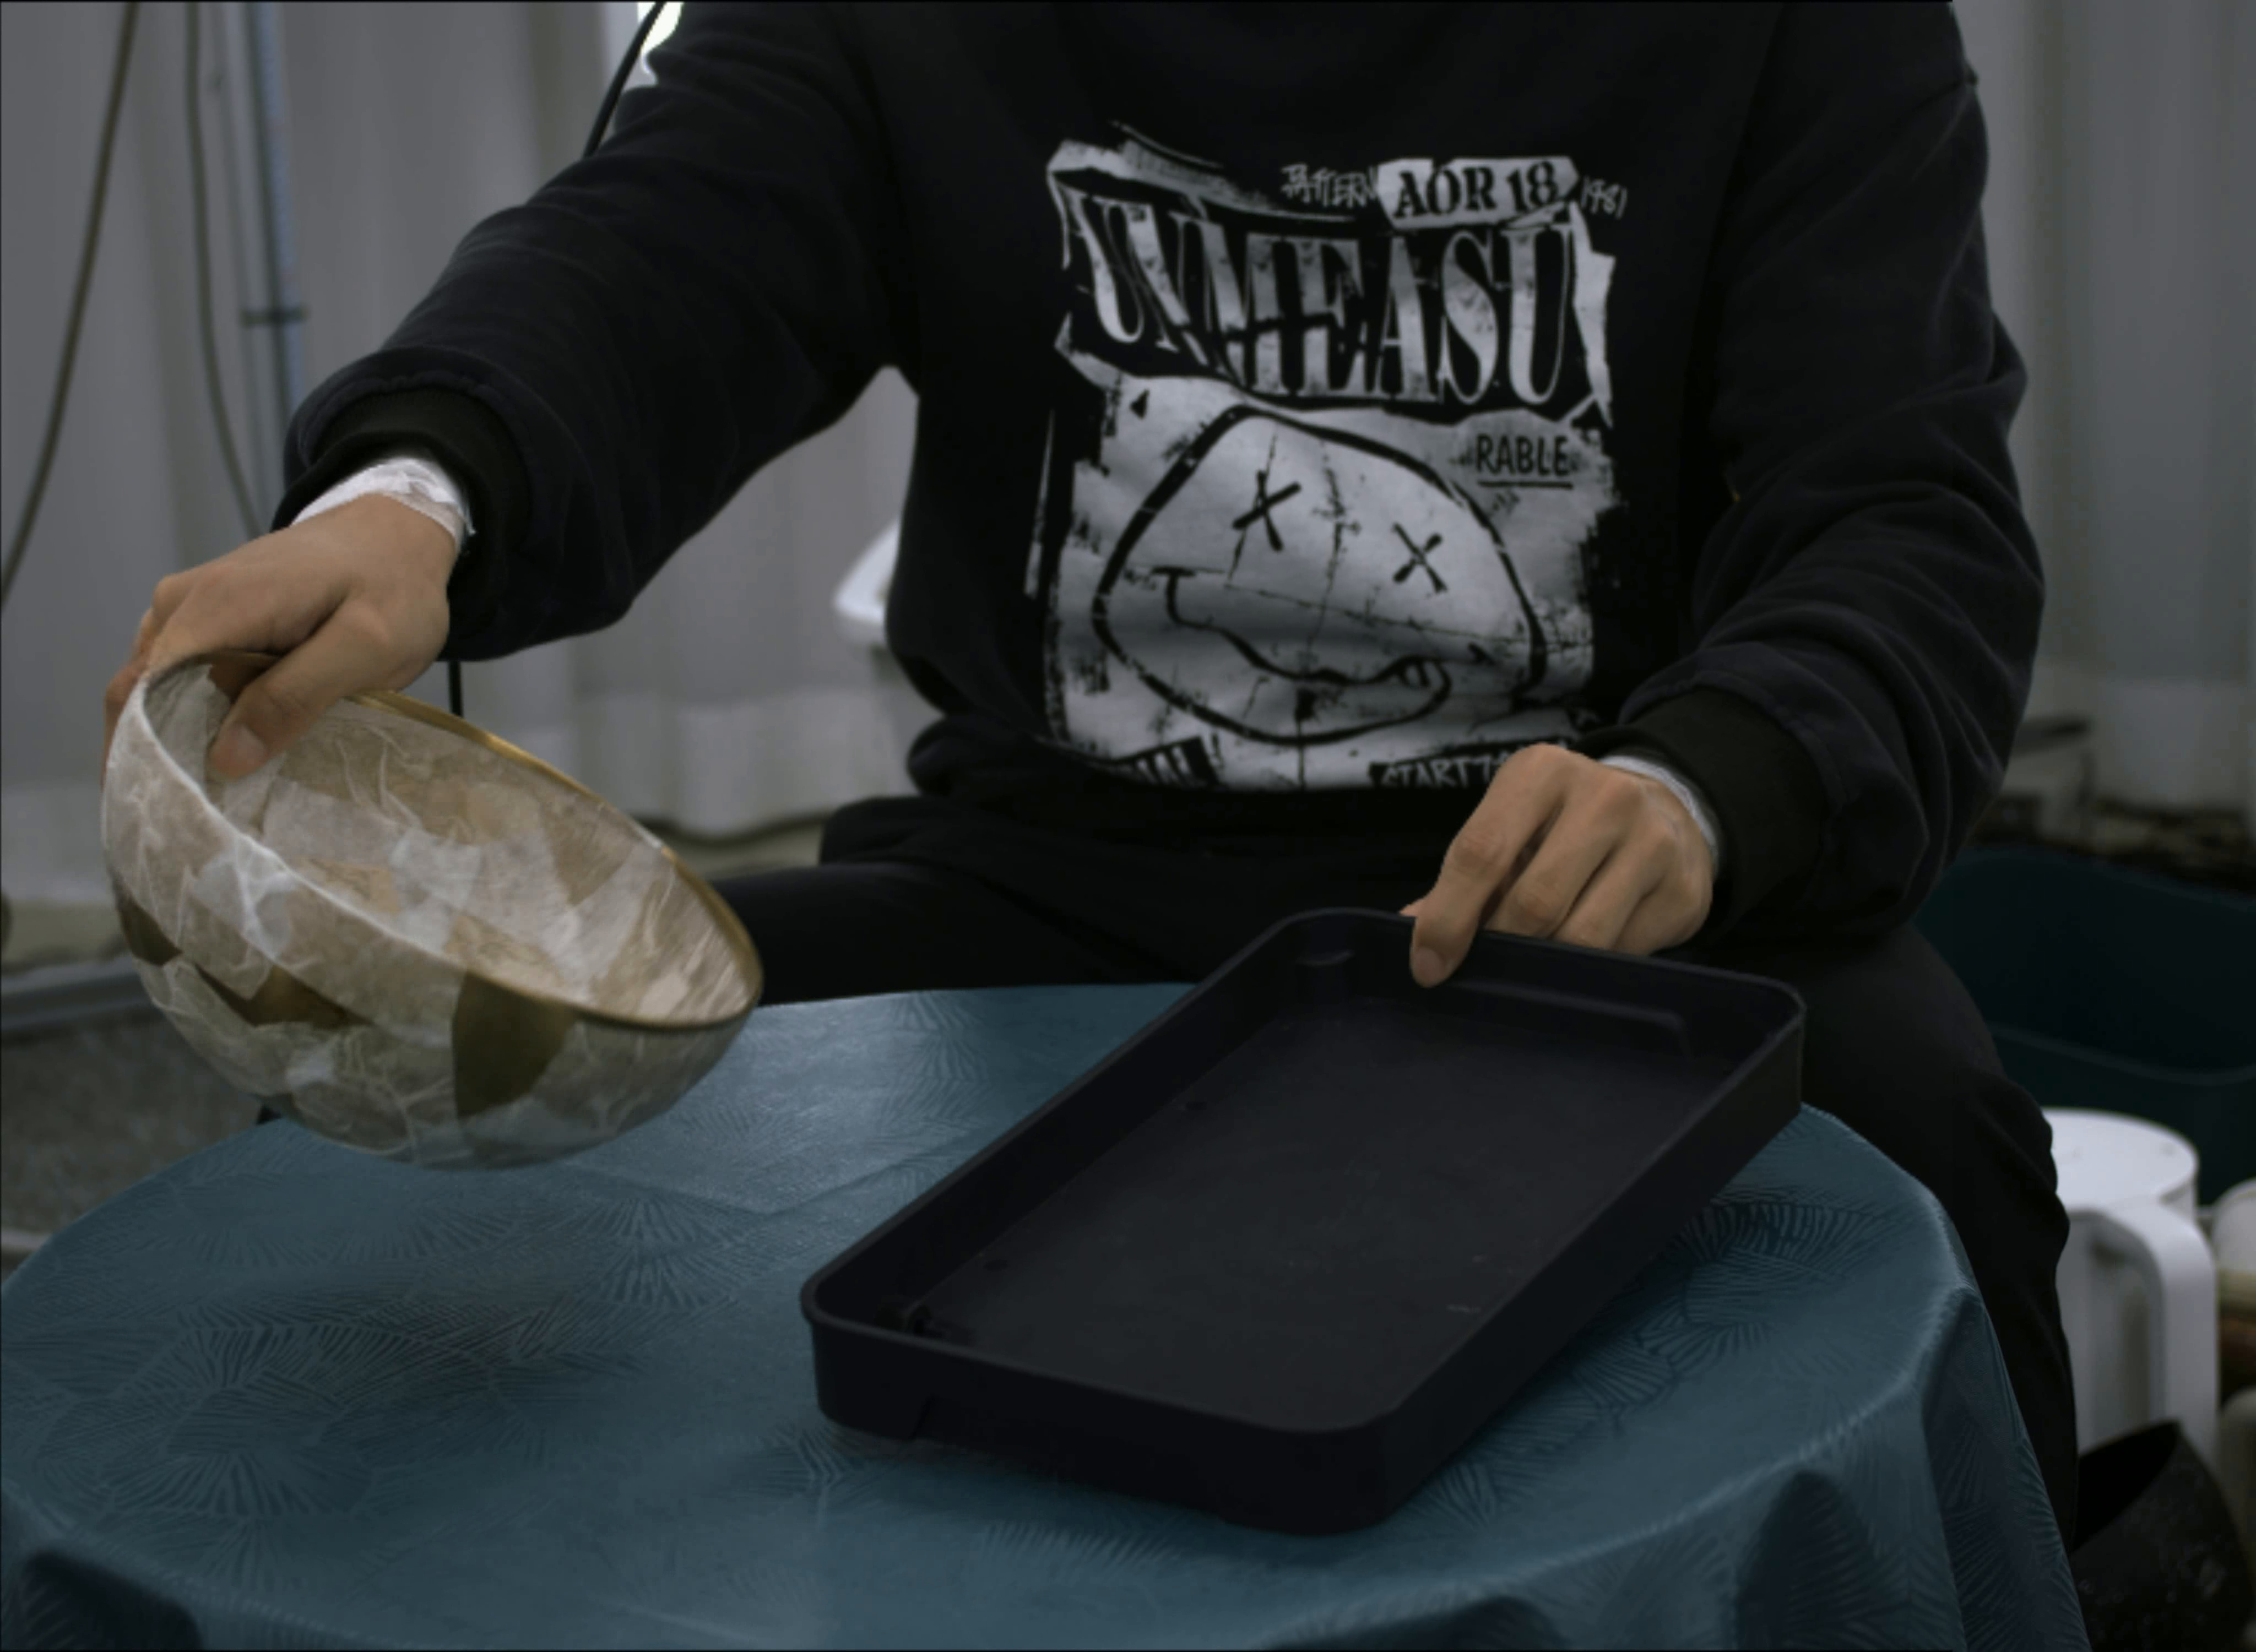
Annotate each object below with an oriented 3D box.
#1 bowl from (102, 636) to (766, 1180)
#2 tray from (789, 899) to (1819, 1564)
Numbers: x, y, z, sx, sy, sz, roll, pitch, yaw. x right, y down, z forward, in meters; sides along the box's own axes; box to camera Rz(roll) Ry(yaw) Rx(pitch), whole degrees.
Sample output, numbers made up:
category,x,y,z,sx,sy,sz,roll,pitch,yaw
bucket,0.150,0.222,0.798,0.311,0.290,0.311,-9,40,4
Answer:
category,x,y,z,sx,sy,sz,roll,pitch,yaw
bowl,-0.212,0.041,1.593,0.214,0.094,0.216,29,14,-8
tray,0.058,0.109,1.588,0.185,0.037,0.319,11,27,30
